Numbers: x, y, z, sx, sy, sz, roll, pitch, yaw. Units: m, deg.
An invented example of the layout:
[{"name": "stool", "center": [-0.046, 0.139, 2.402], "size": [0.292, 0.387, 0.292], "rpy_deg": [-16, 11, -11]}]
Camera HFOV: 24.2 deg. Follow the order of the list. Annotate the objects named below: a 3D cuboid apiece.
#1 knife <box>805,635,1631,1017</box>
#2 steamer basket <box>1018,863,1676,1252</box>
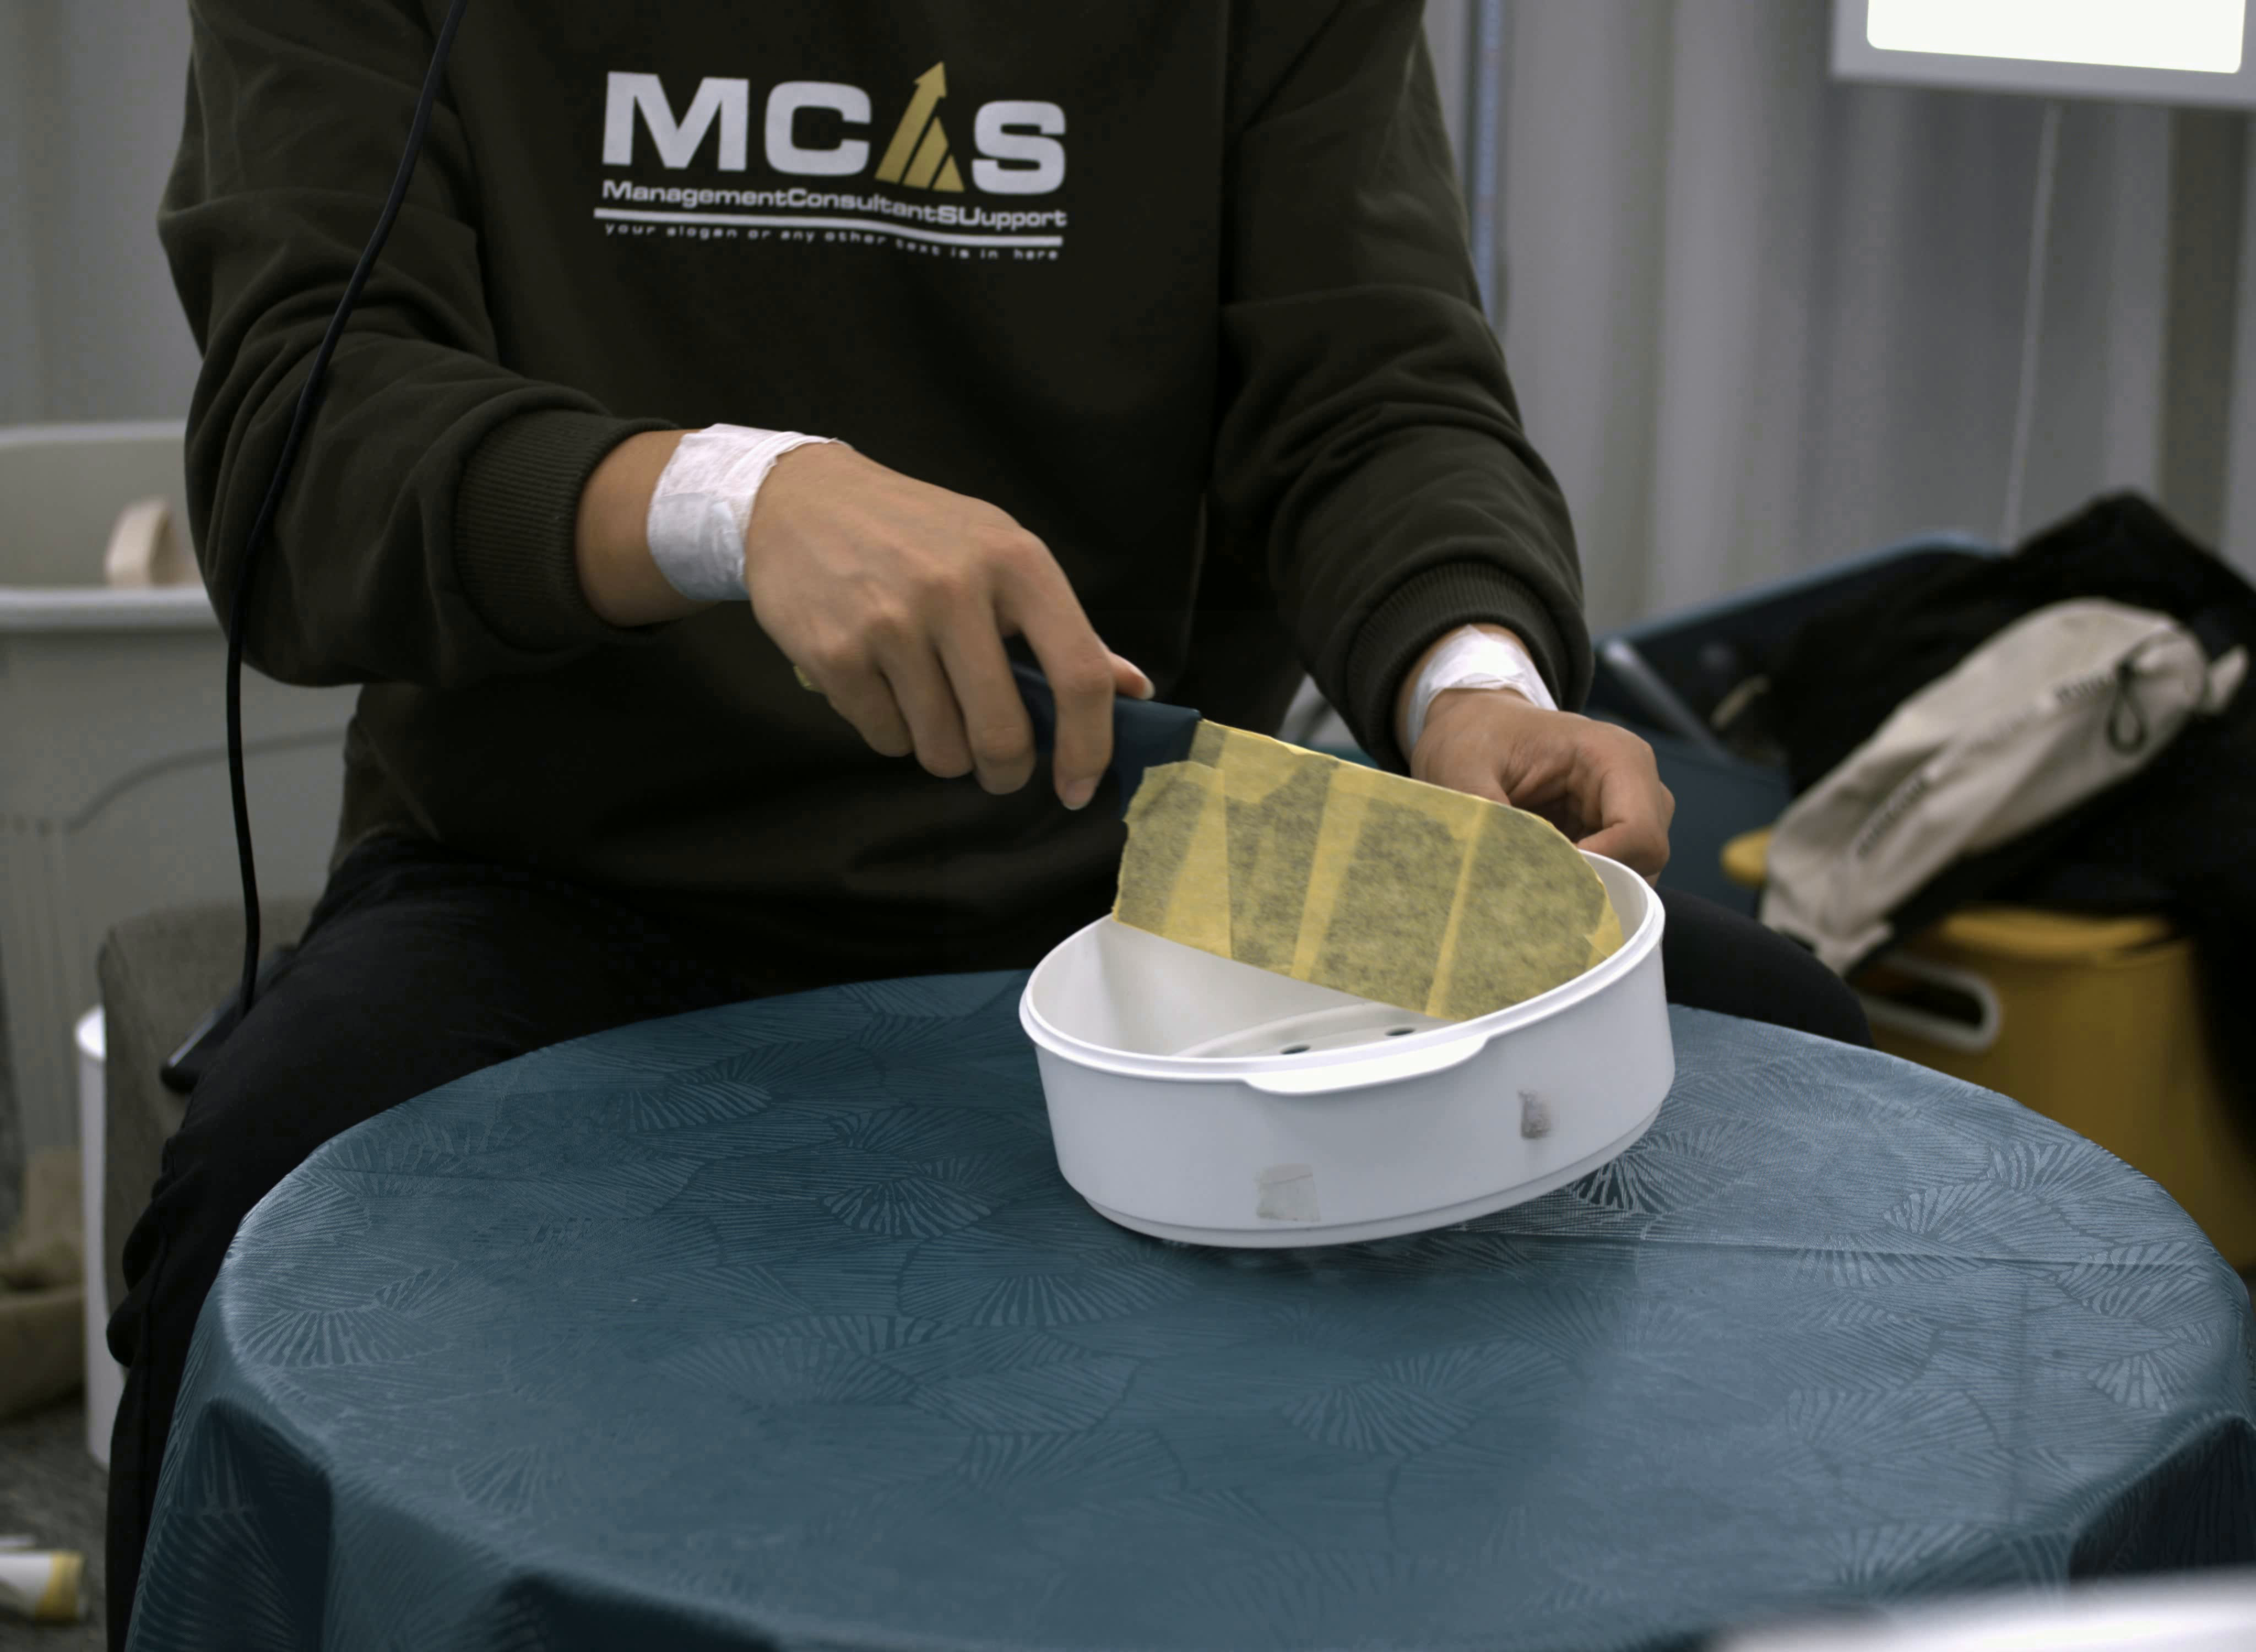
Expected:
[{"name": "knife", "center": [0.027, 0.001, 1.659], "size": [0.287, 0.081, 0.027], "rpy_deg": [20, 13, 13]}, {"name": "steamer basket", "center": [0.070, 0.069, 1.620], "size": [0.201, 0.070, 0.229], "rpy_deg": [-9, 16, 0]}]
